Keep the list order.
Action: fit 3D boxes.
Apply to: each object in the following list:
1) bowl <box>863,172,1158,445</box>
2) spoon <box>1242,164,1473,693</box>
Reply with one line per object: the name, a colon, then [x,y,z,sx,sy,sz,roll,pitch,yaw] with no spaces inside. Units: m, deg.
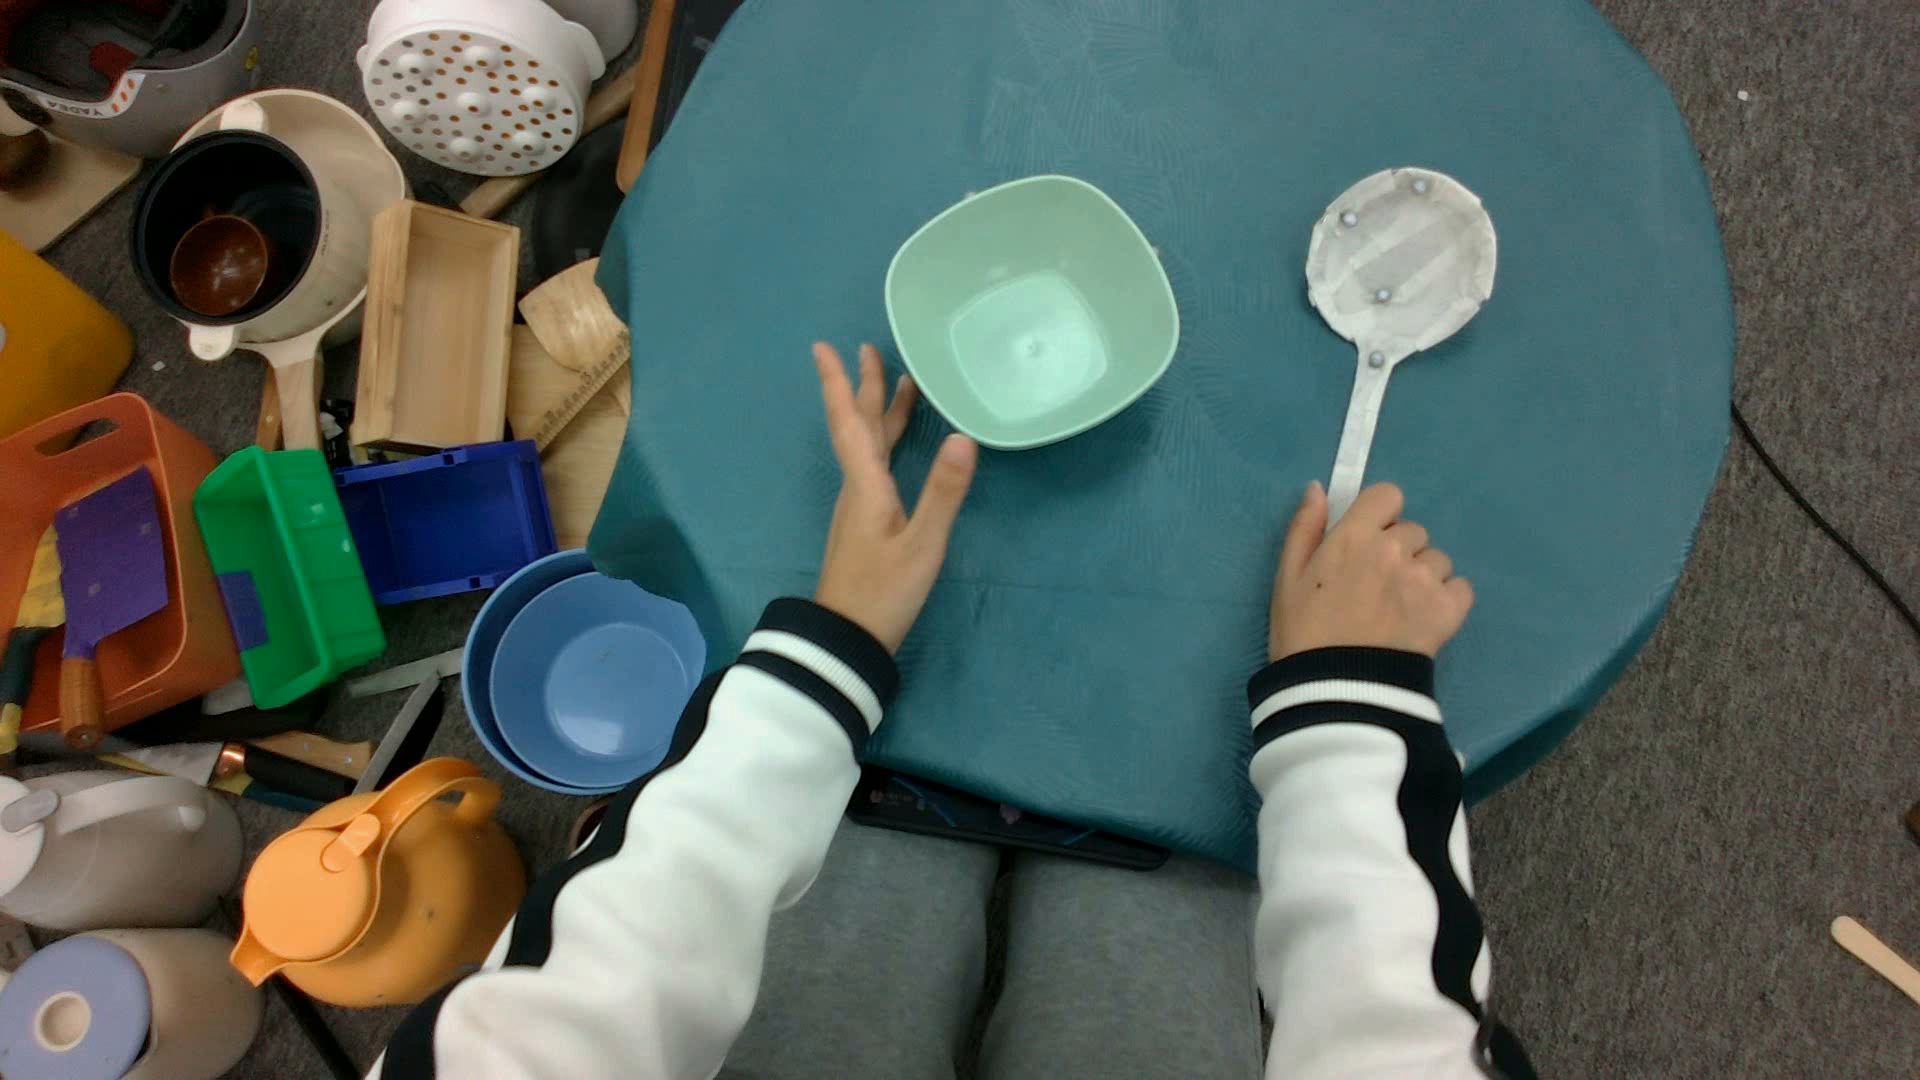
bowl: [0.025,-0.112,0.718,0.151,0.058,0.152,0,74,0]
spoon: [0.184,-0.059,0.700,0.100,0.059,0.278,16,75,15]
